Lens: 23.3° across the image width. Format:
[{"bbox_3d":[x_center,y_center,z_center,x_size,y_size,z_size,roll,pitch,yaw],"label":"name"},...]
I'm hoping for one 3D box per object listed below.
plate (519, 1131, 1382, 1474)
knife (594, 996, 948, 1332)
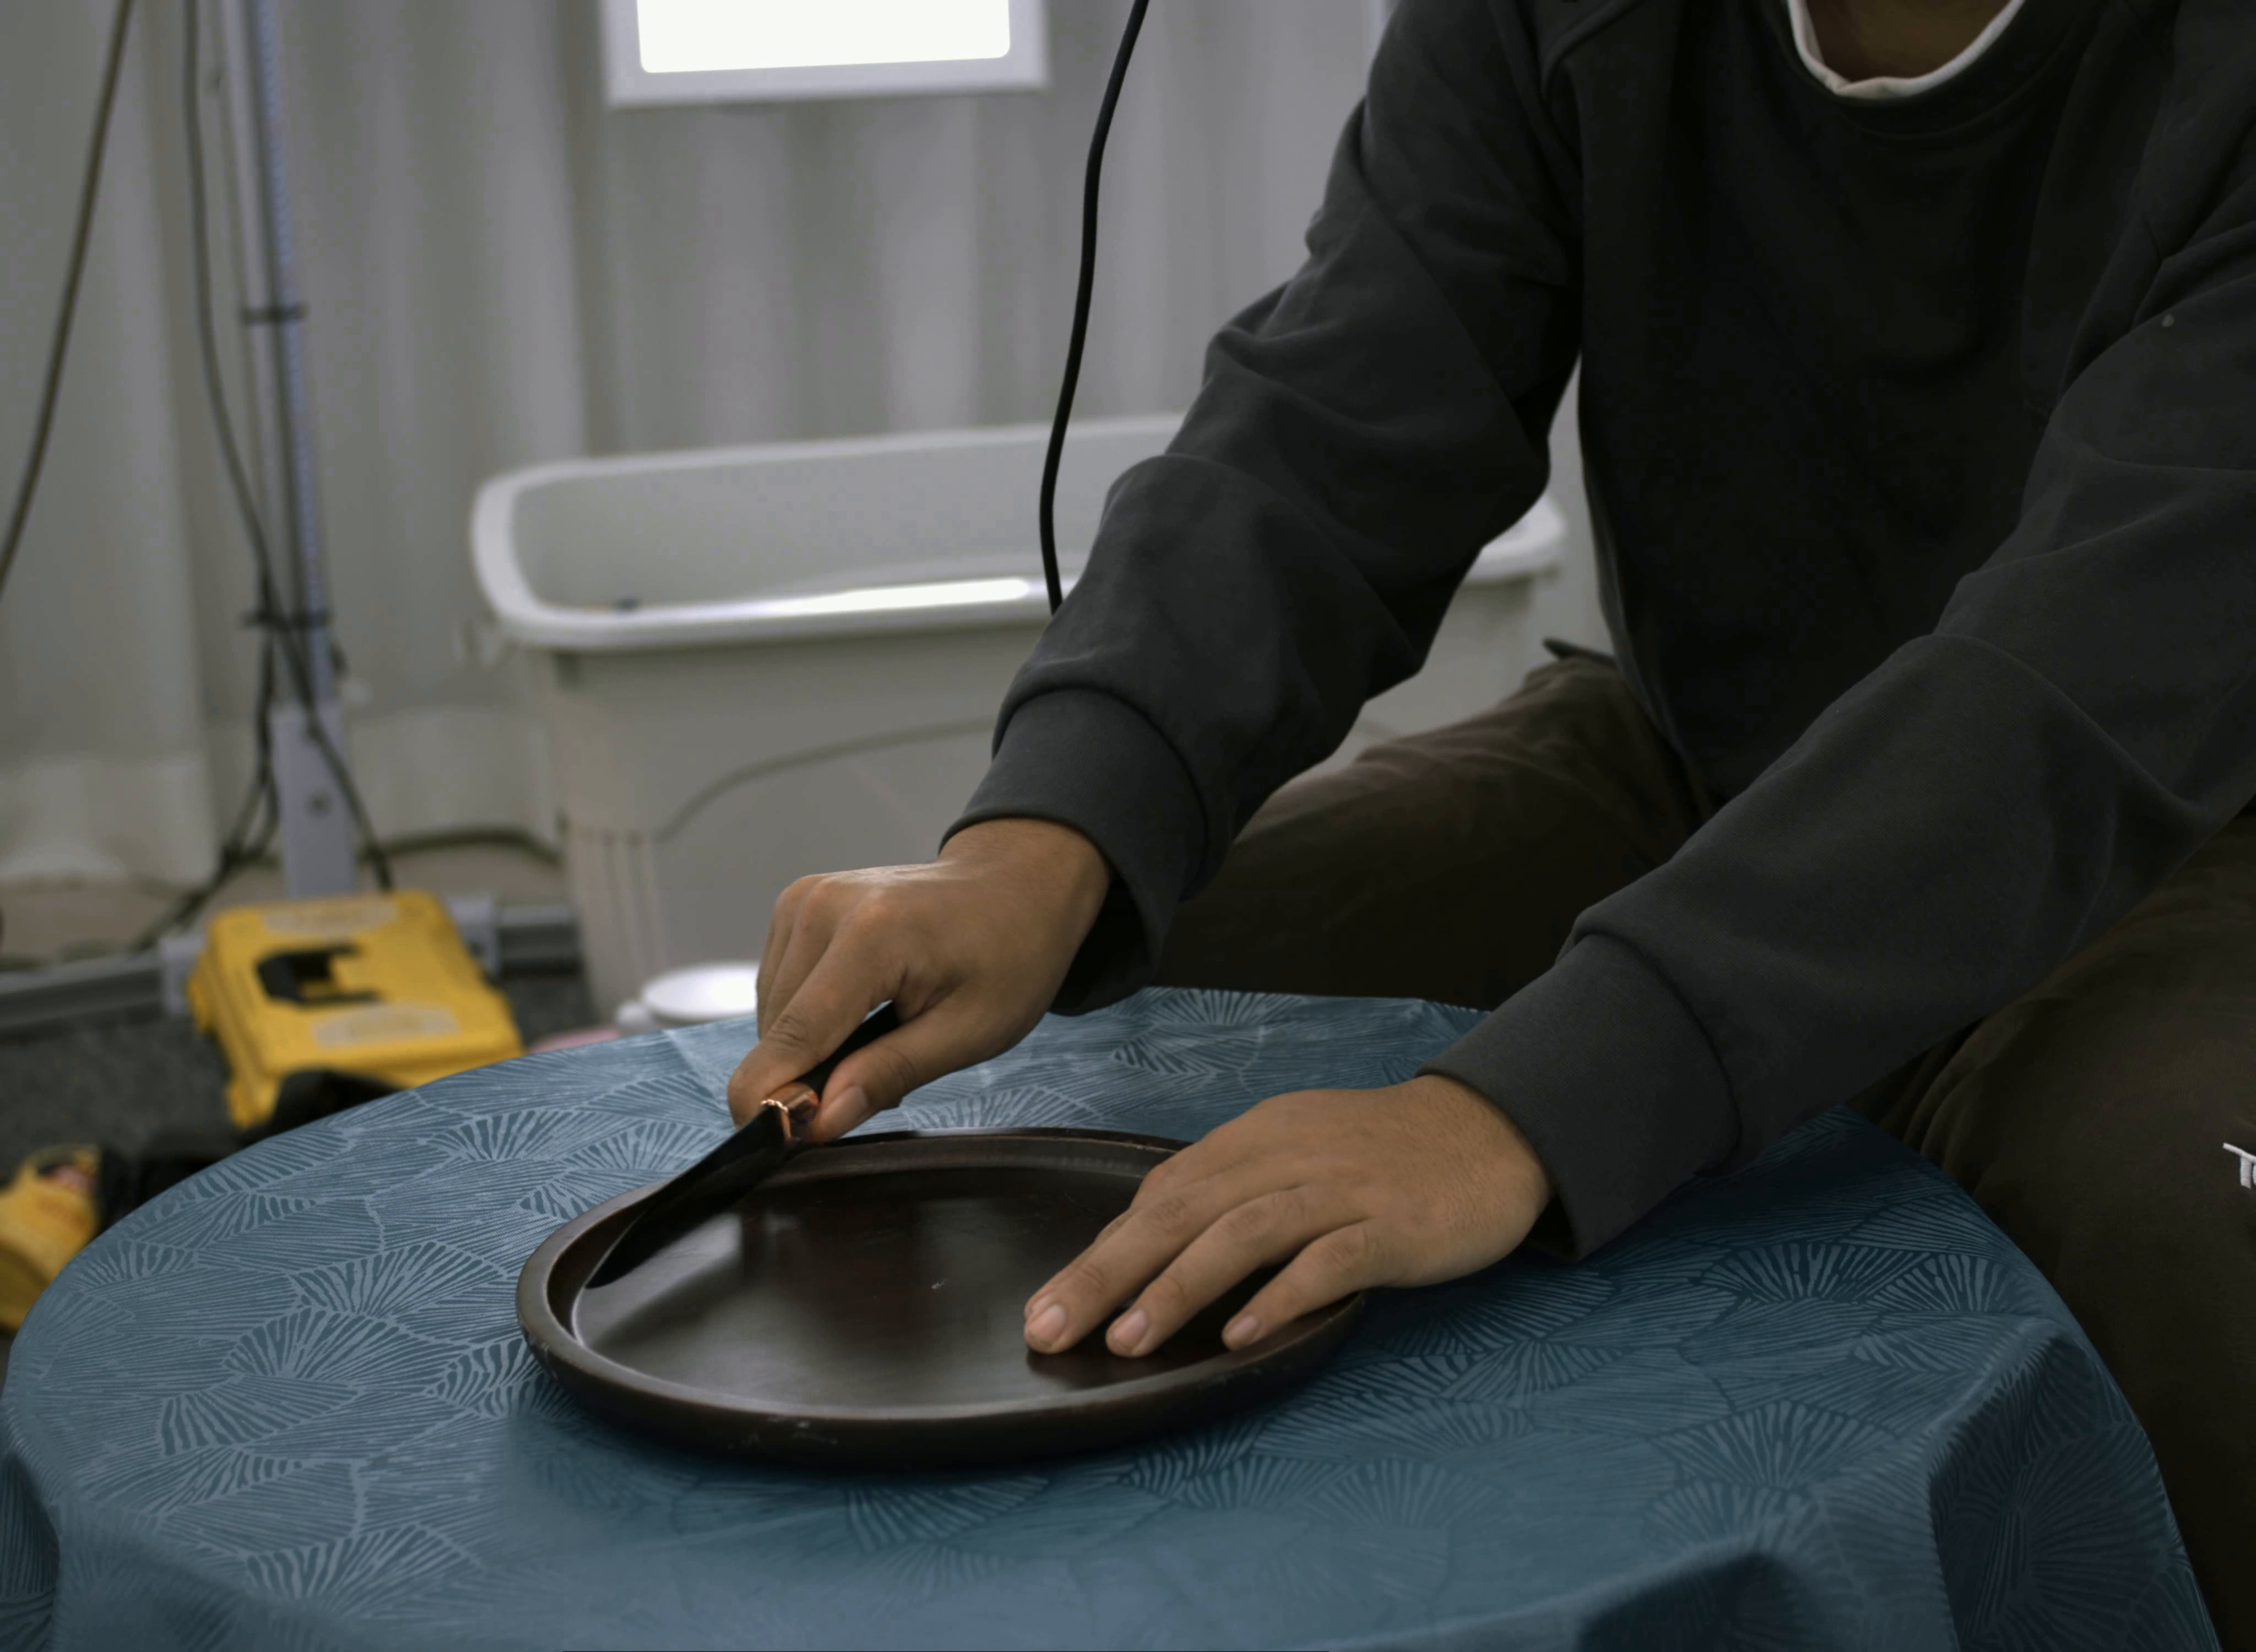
[{"bbox_3d":[-0.051,0.137,1.599,0.254,0.029,0.256,-3,13,0],"label":"plate"},{"bbox_3d":[-0.108,0.101,1.676,0.017,0.026,0.226,1,20,25],"label":"knife"}]
